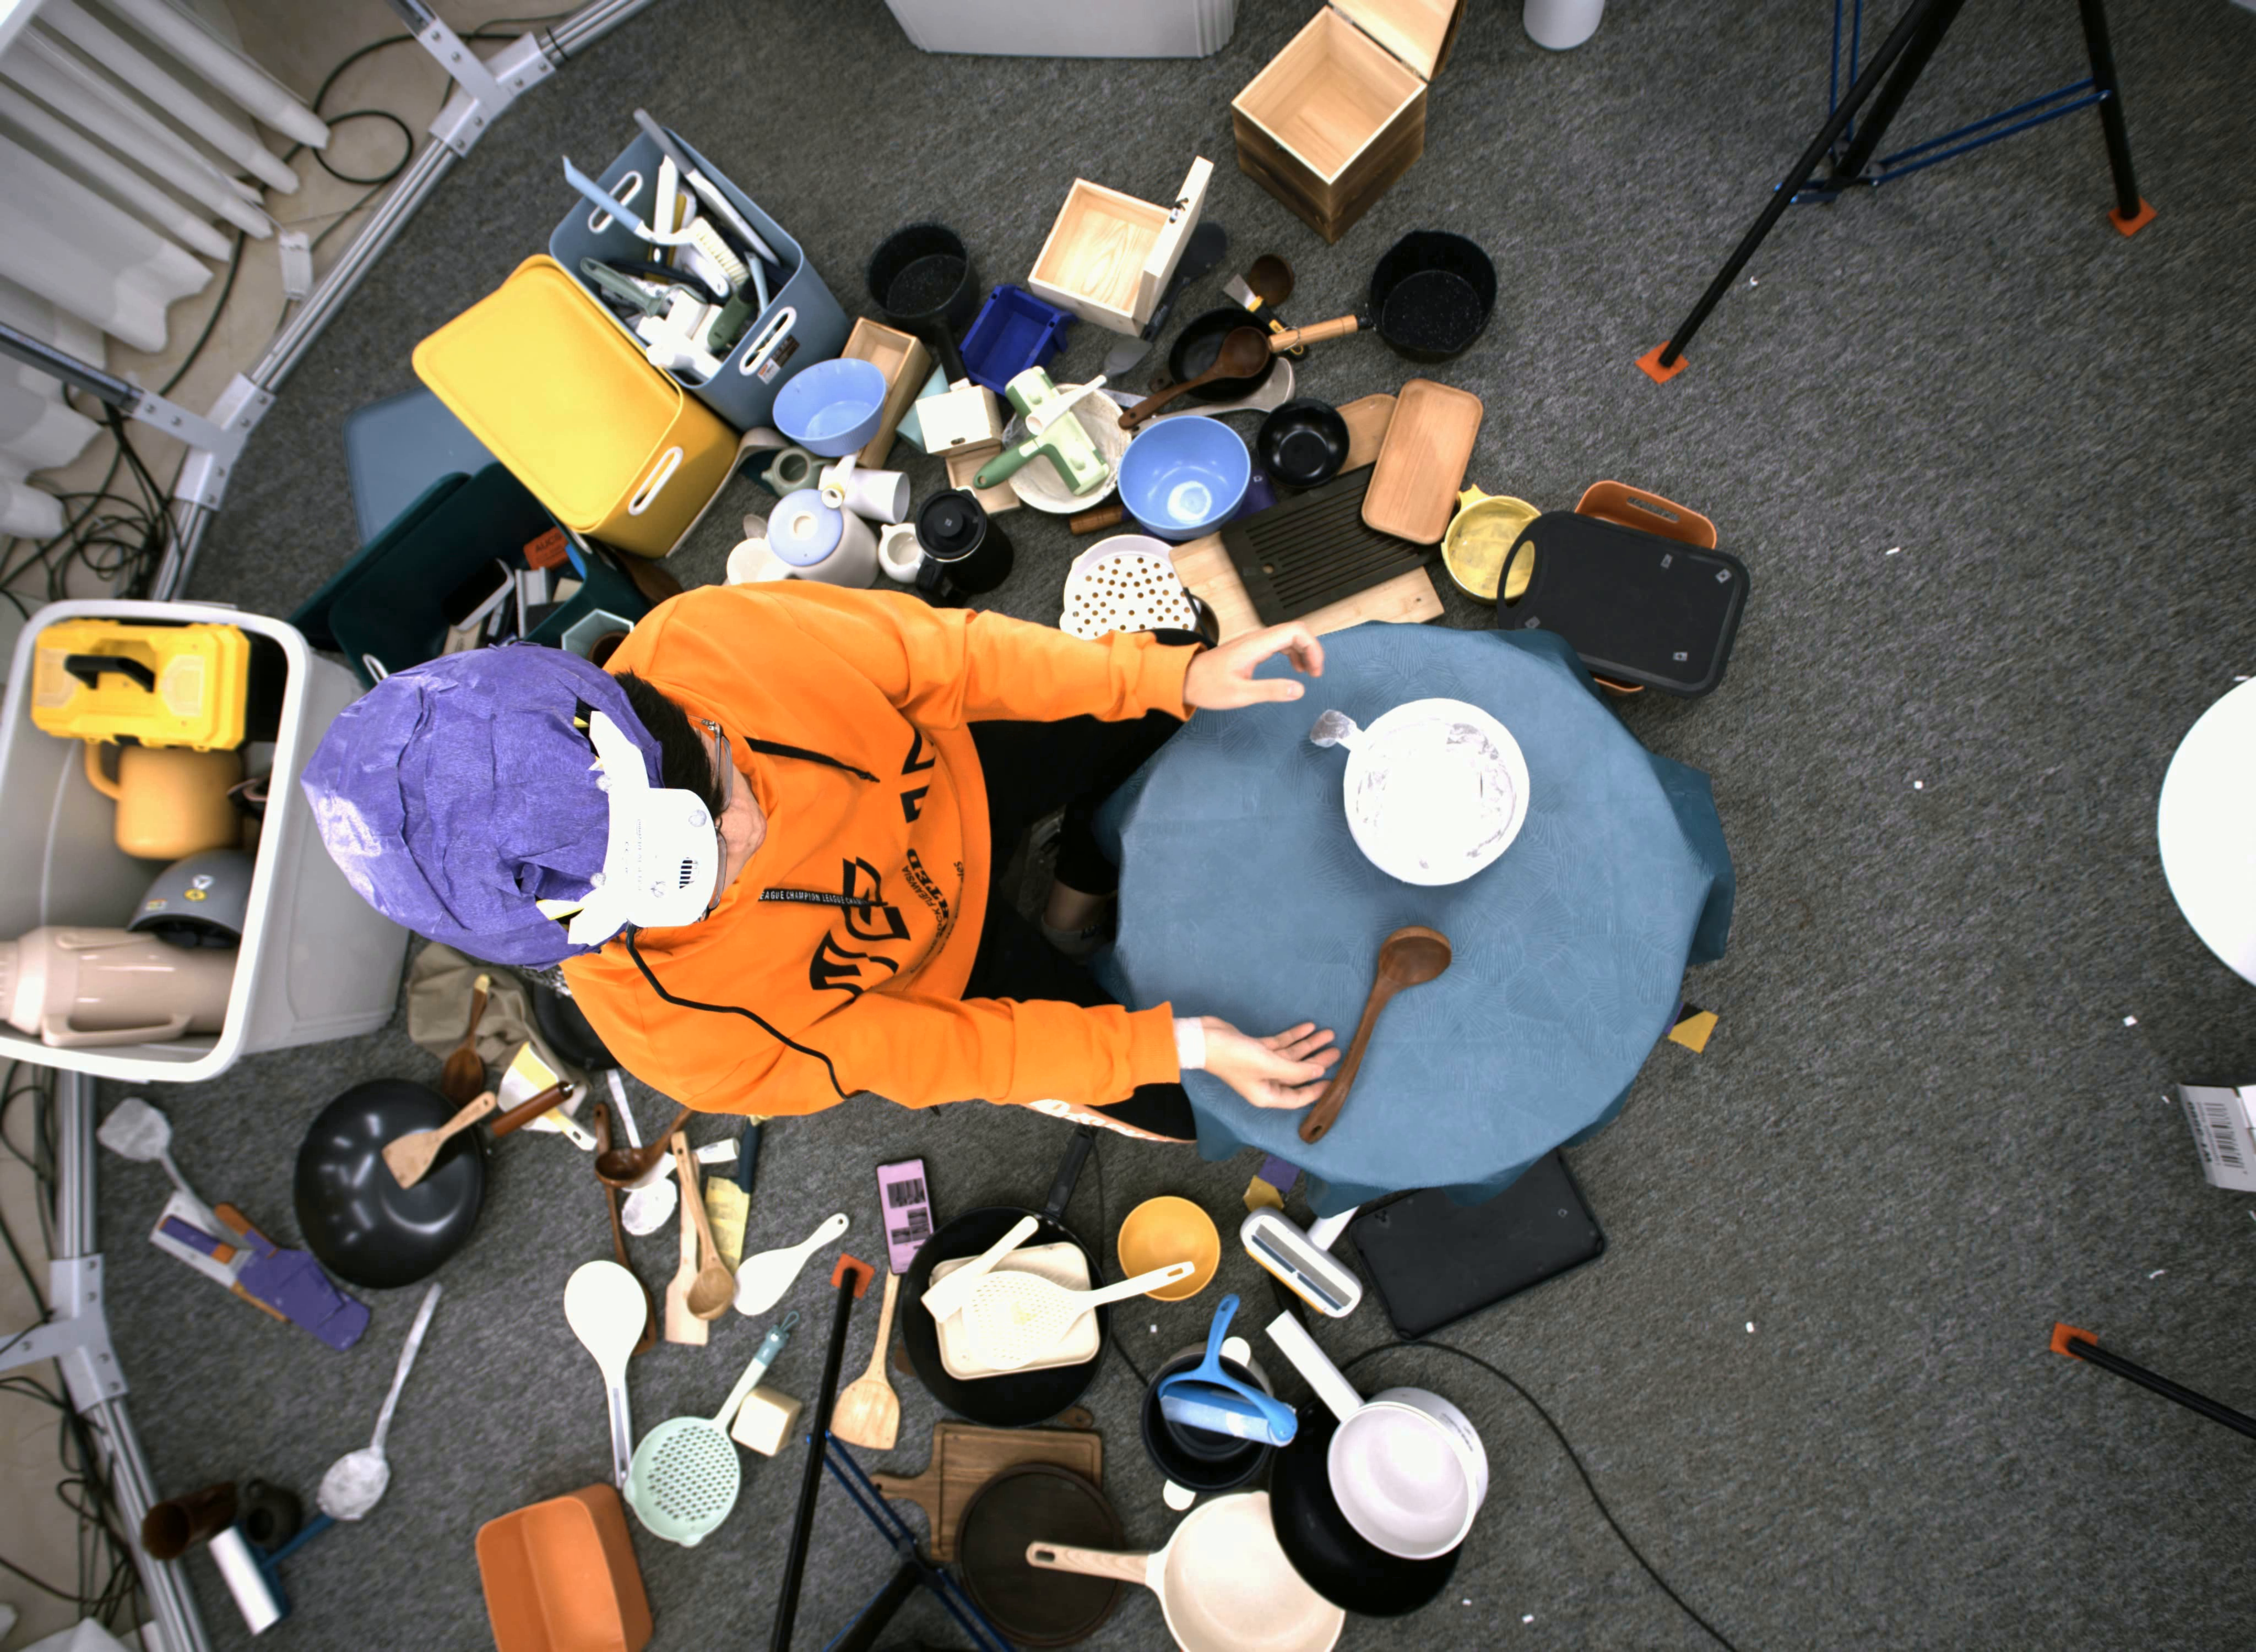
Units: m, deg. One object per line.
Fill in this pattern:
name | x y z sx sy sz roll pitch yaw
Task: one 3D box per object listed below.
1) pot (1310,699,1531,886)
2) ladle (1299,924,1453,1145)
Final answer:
pot | 0.285 -0.046 1.394 0.233 0.137 0.179 34 92 10
ladle | 0.251 0.218 1.425 0.077 0.065 0.260 27 91 -14
